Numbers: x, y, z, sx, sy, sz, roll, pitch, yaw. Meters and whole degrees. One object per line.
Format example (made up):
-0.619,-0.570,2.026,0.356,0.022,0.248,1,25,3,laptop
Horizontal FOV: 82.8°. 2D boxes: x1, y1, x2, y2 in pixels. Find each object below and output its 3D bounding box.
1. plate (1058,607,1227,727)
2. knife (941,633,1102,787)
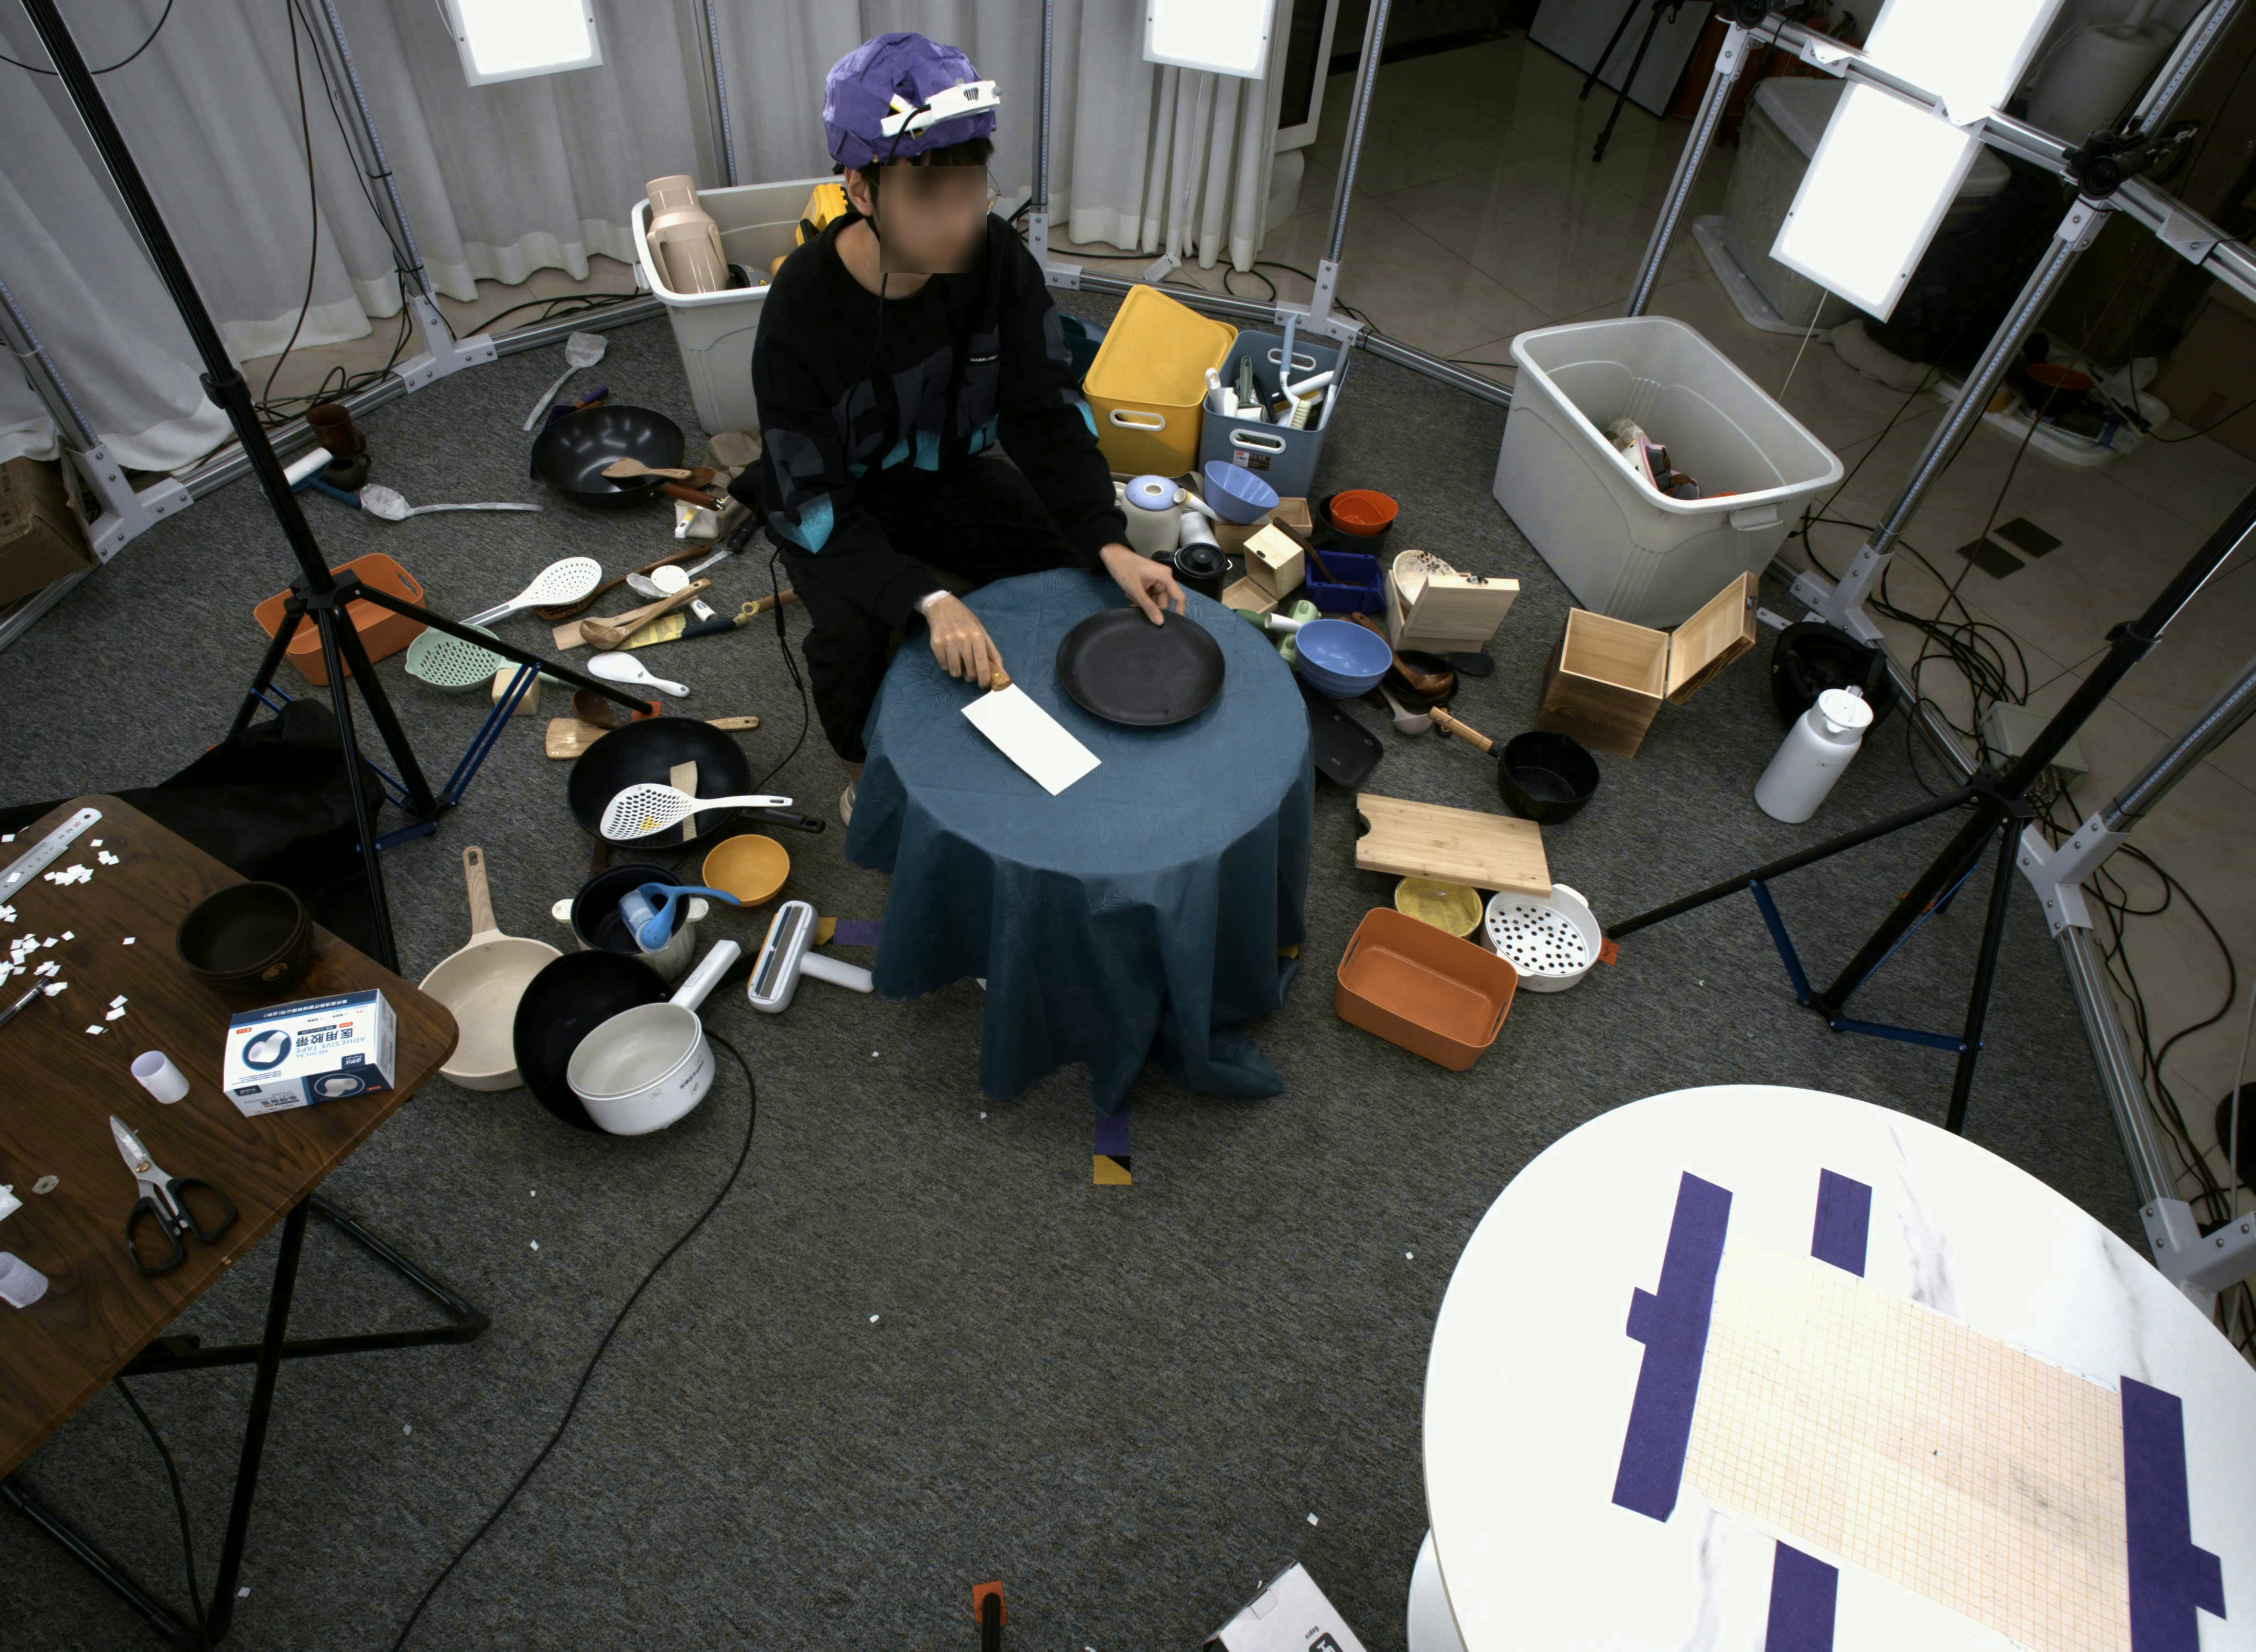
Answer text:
0.021,-0.227,1.850,0.244,0.023,0.250,1,50,-2,plate
-0.168,-0.159,1.774,0.094,0.020,0.310,-35,65,-29,knife
